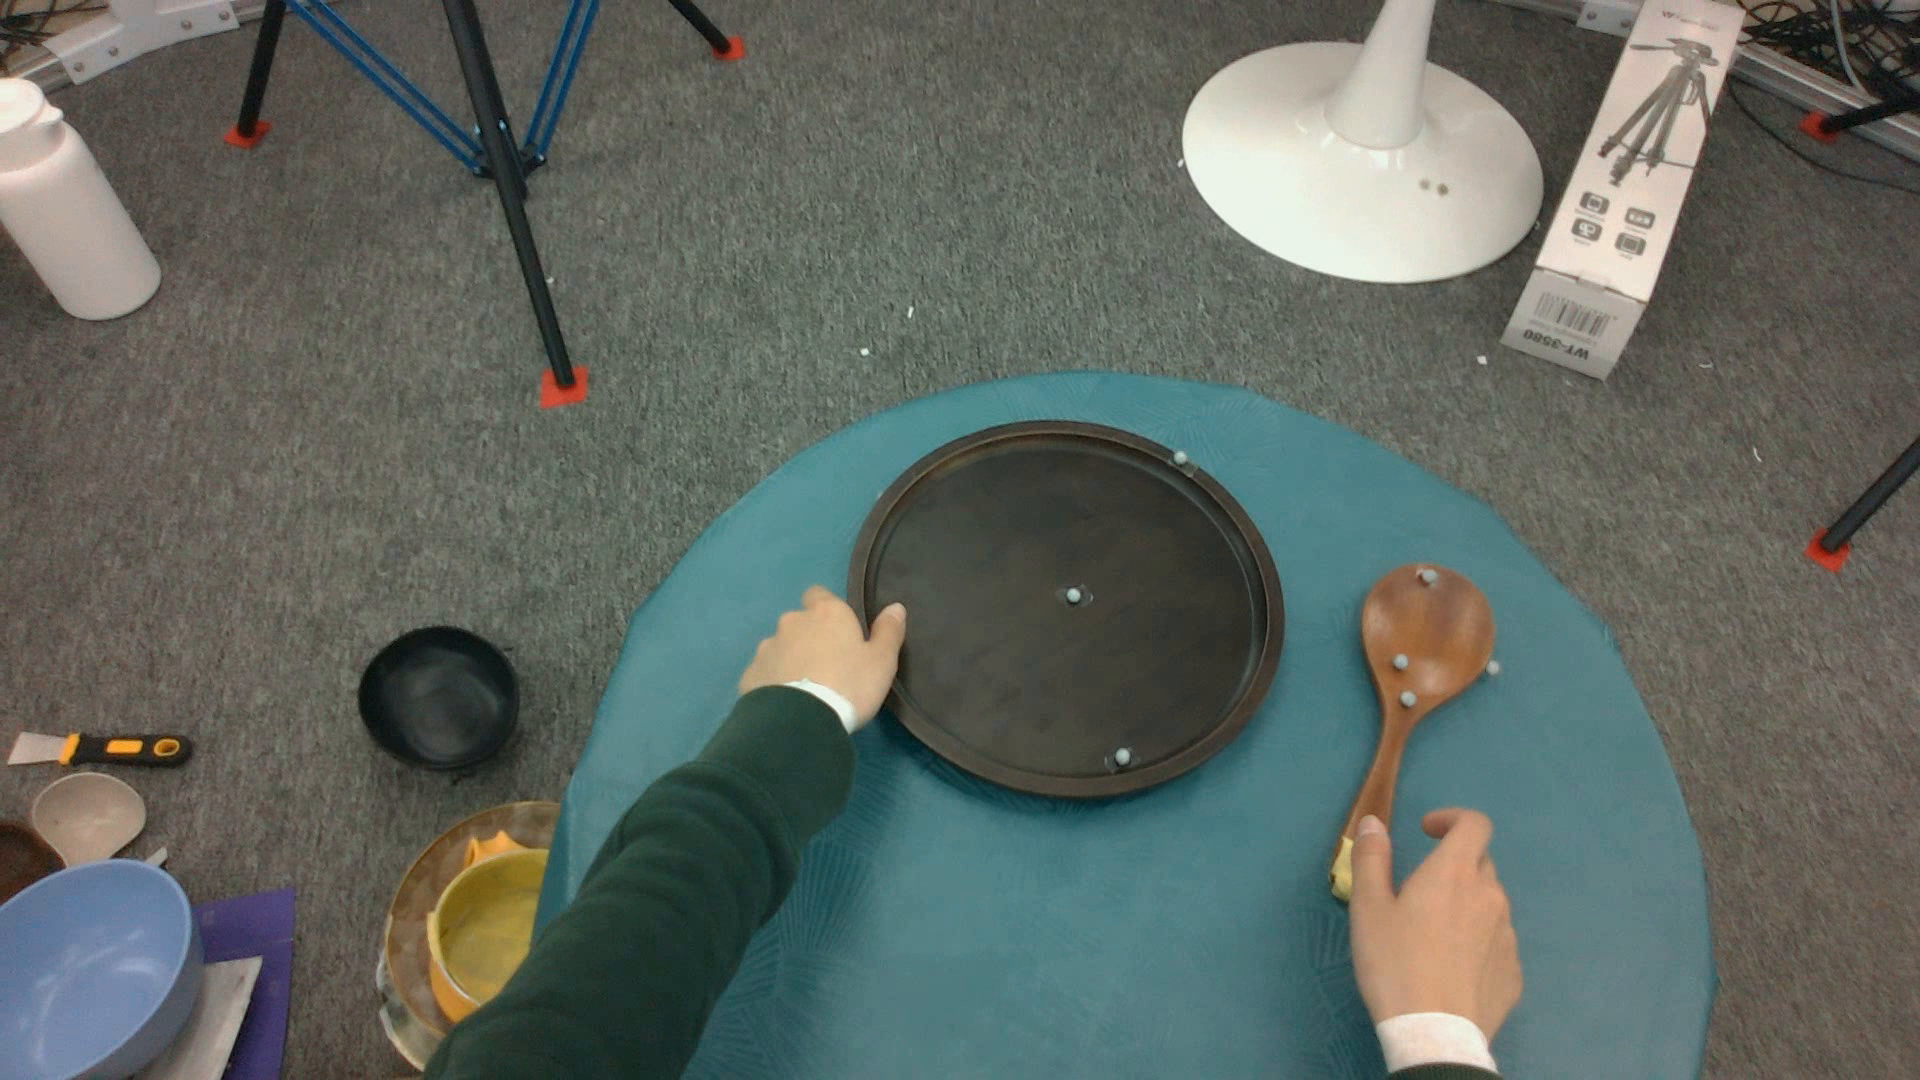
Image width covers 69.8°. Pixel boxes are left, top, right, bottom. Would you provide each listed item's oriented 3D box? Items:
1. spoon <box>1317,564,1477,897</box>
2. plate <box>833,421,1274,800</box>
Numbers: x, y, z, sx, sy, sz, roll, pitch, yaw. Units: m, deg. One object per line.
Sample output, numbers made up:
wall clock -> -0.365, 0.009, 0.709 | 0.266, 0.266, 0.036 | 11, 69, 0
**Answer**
spoon -> 0.235, 0.100, 0.761 | 0.075, 0.017, 0.217 | 21, 56, 11
plate -> 0.053, 0.034, 0.795 | 0.255, 0.029, 0.256 | 1, 53, -2
